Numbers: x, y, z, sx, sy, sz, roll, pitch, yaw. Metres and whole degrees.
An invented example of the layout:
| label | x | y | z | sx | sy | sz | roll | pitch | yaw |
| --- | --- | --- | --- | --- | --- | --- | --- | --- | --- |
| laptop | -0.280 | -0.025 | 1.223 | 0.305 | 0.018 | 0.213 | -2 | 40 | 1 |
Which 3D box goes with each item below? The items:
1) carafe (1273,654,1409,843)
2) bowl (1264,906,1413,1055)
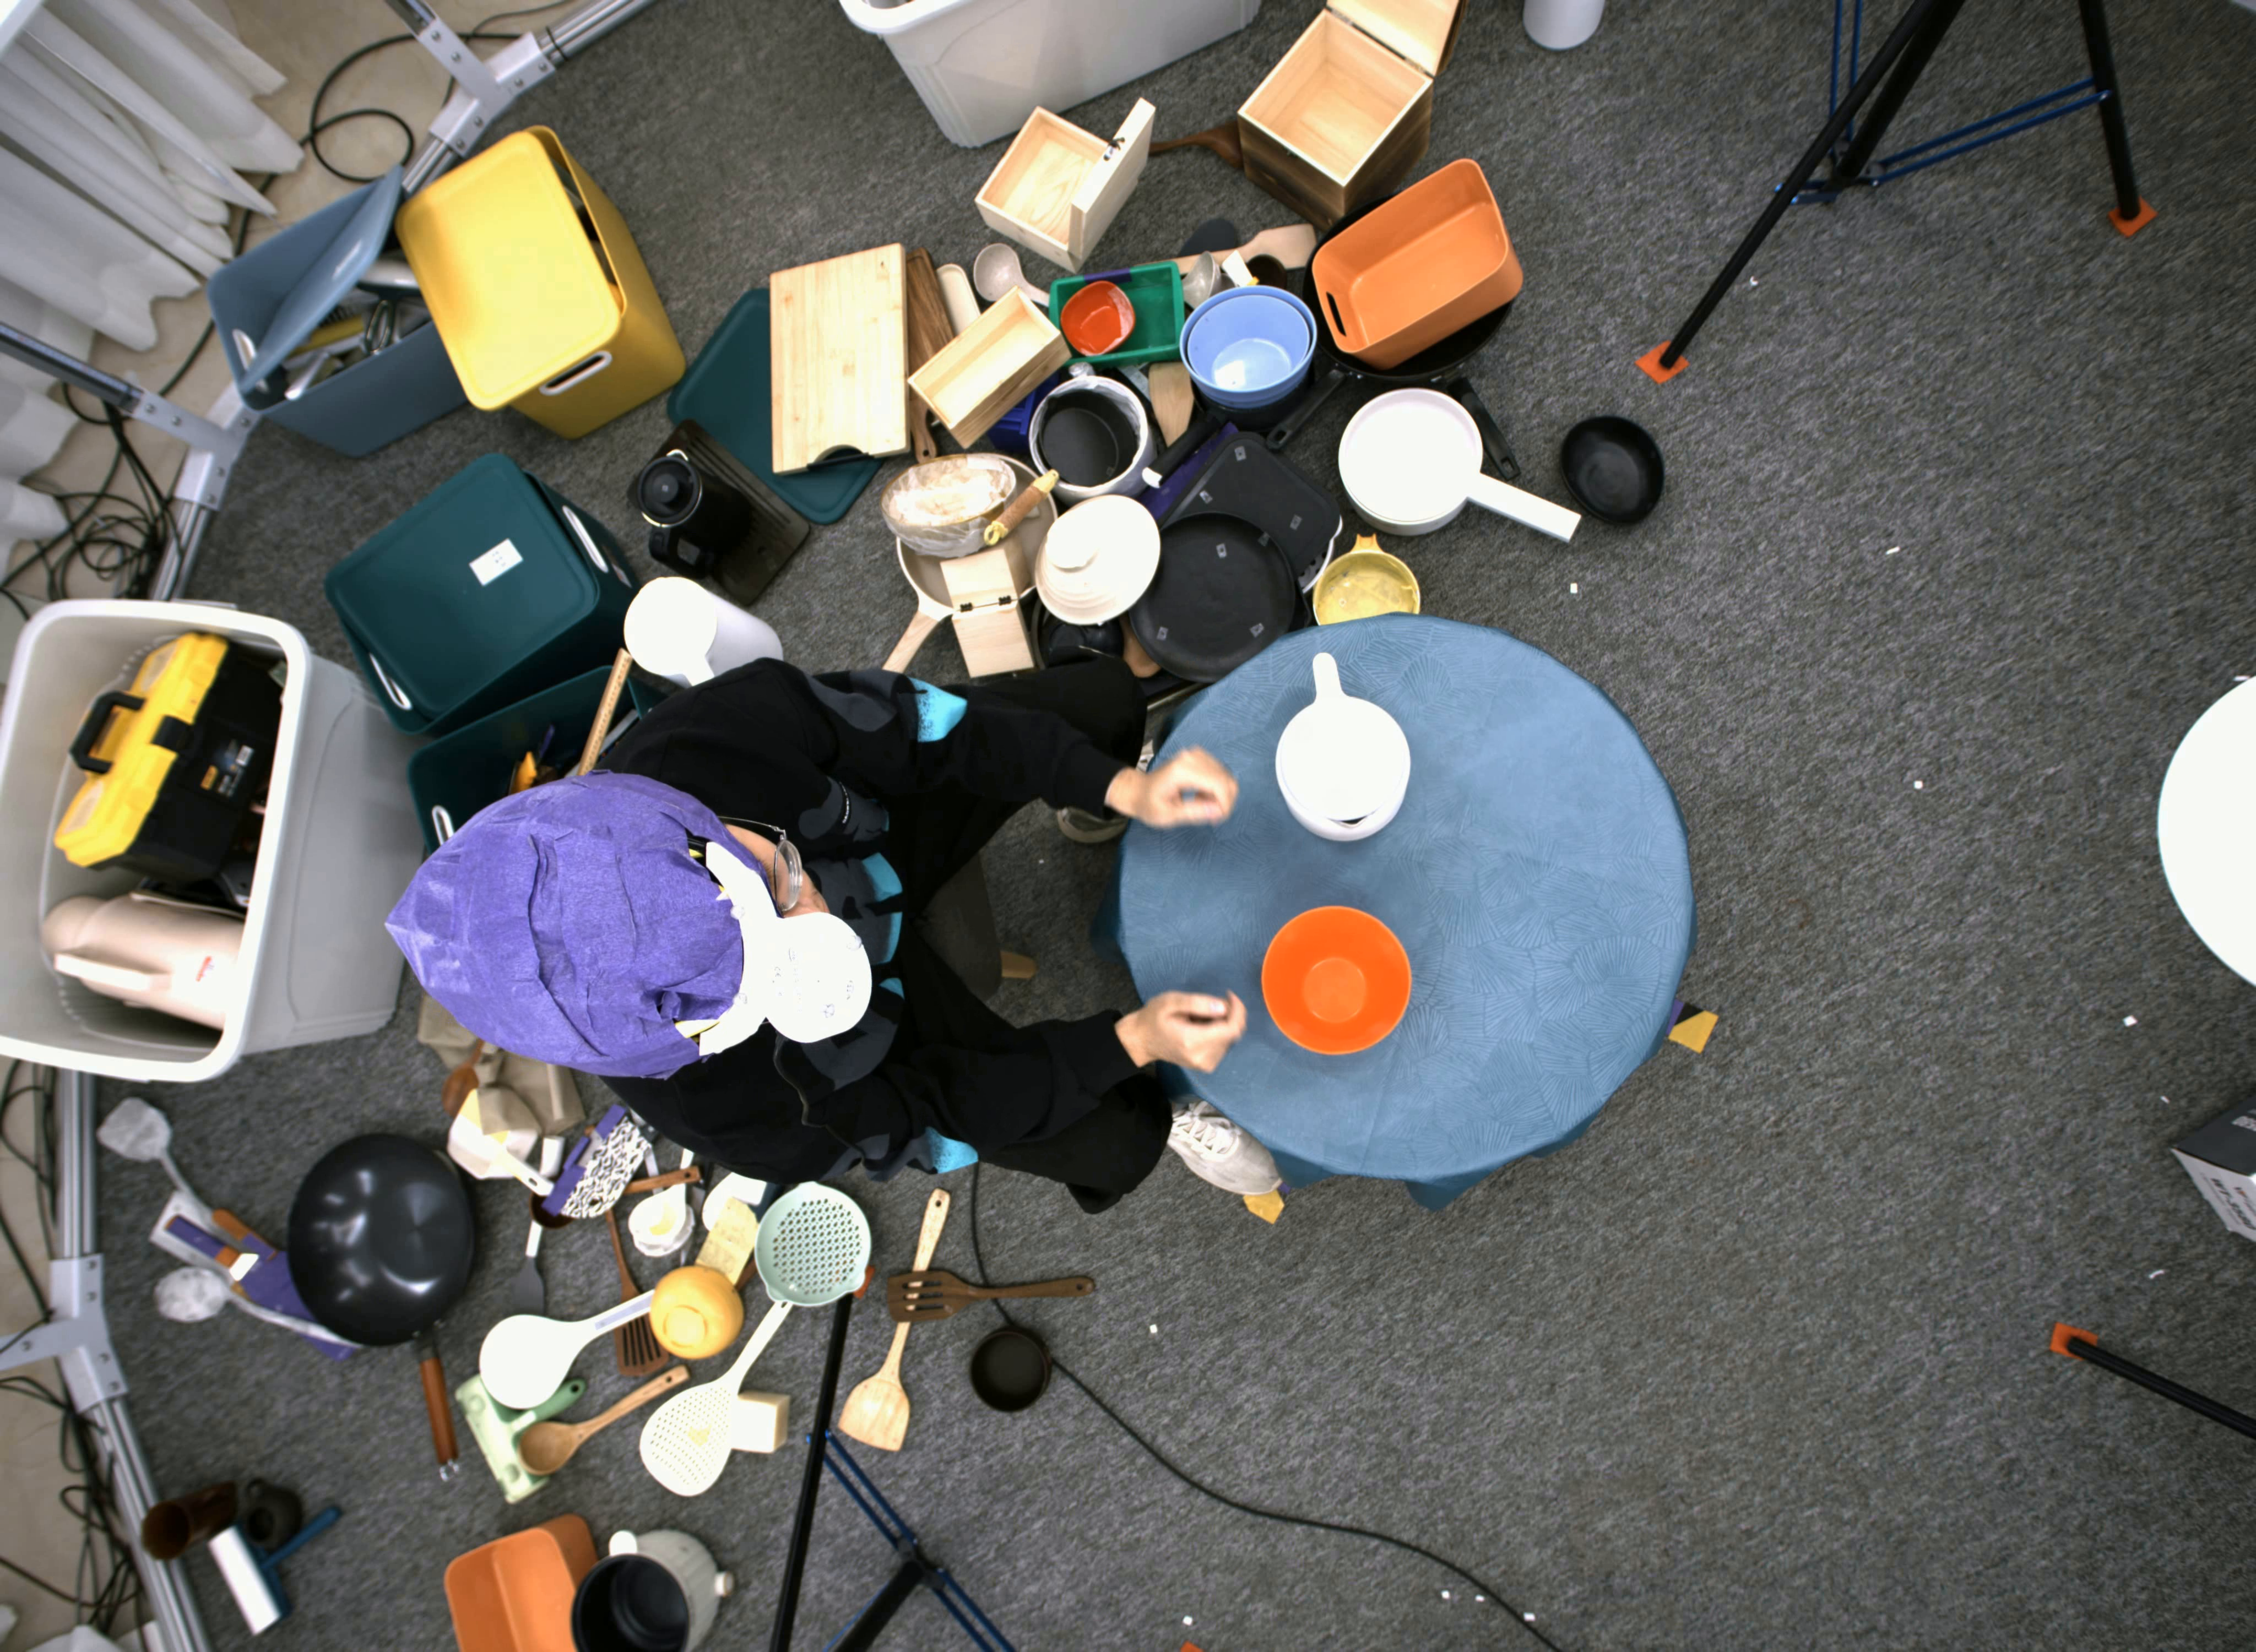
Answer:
| label | x | y | z | sx | sy | sz | roll | pitch | yaw |
| --- | --- | --- | --- | --- | --- | --- | --- | --- | --- |
| carafe | 0.210 | -0.080 | 1.388 | 0.133 | 0.183 | 0.189 | -12 | 81 | 7 |
| bowl | 0.214 | 0.157 | 1.410 | 0.148 | 0.105 | 0.147 | -1 | 86 | 10 |
